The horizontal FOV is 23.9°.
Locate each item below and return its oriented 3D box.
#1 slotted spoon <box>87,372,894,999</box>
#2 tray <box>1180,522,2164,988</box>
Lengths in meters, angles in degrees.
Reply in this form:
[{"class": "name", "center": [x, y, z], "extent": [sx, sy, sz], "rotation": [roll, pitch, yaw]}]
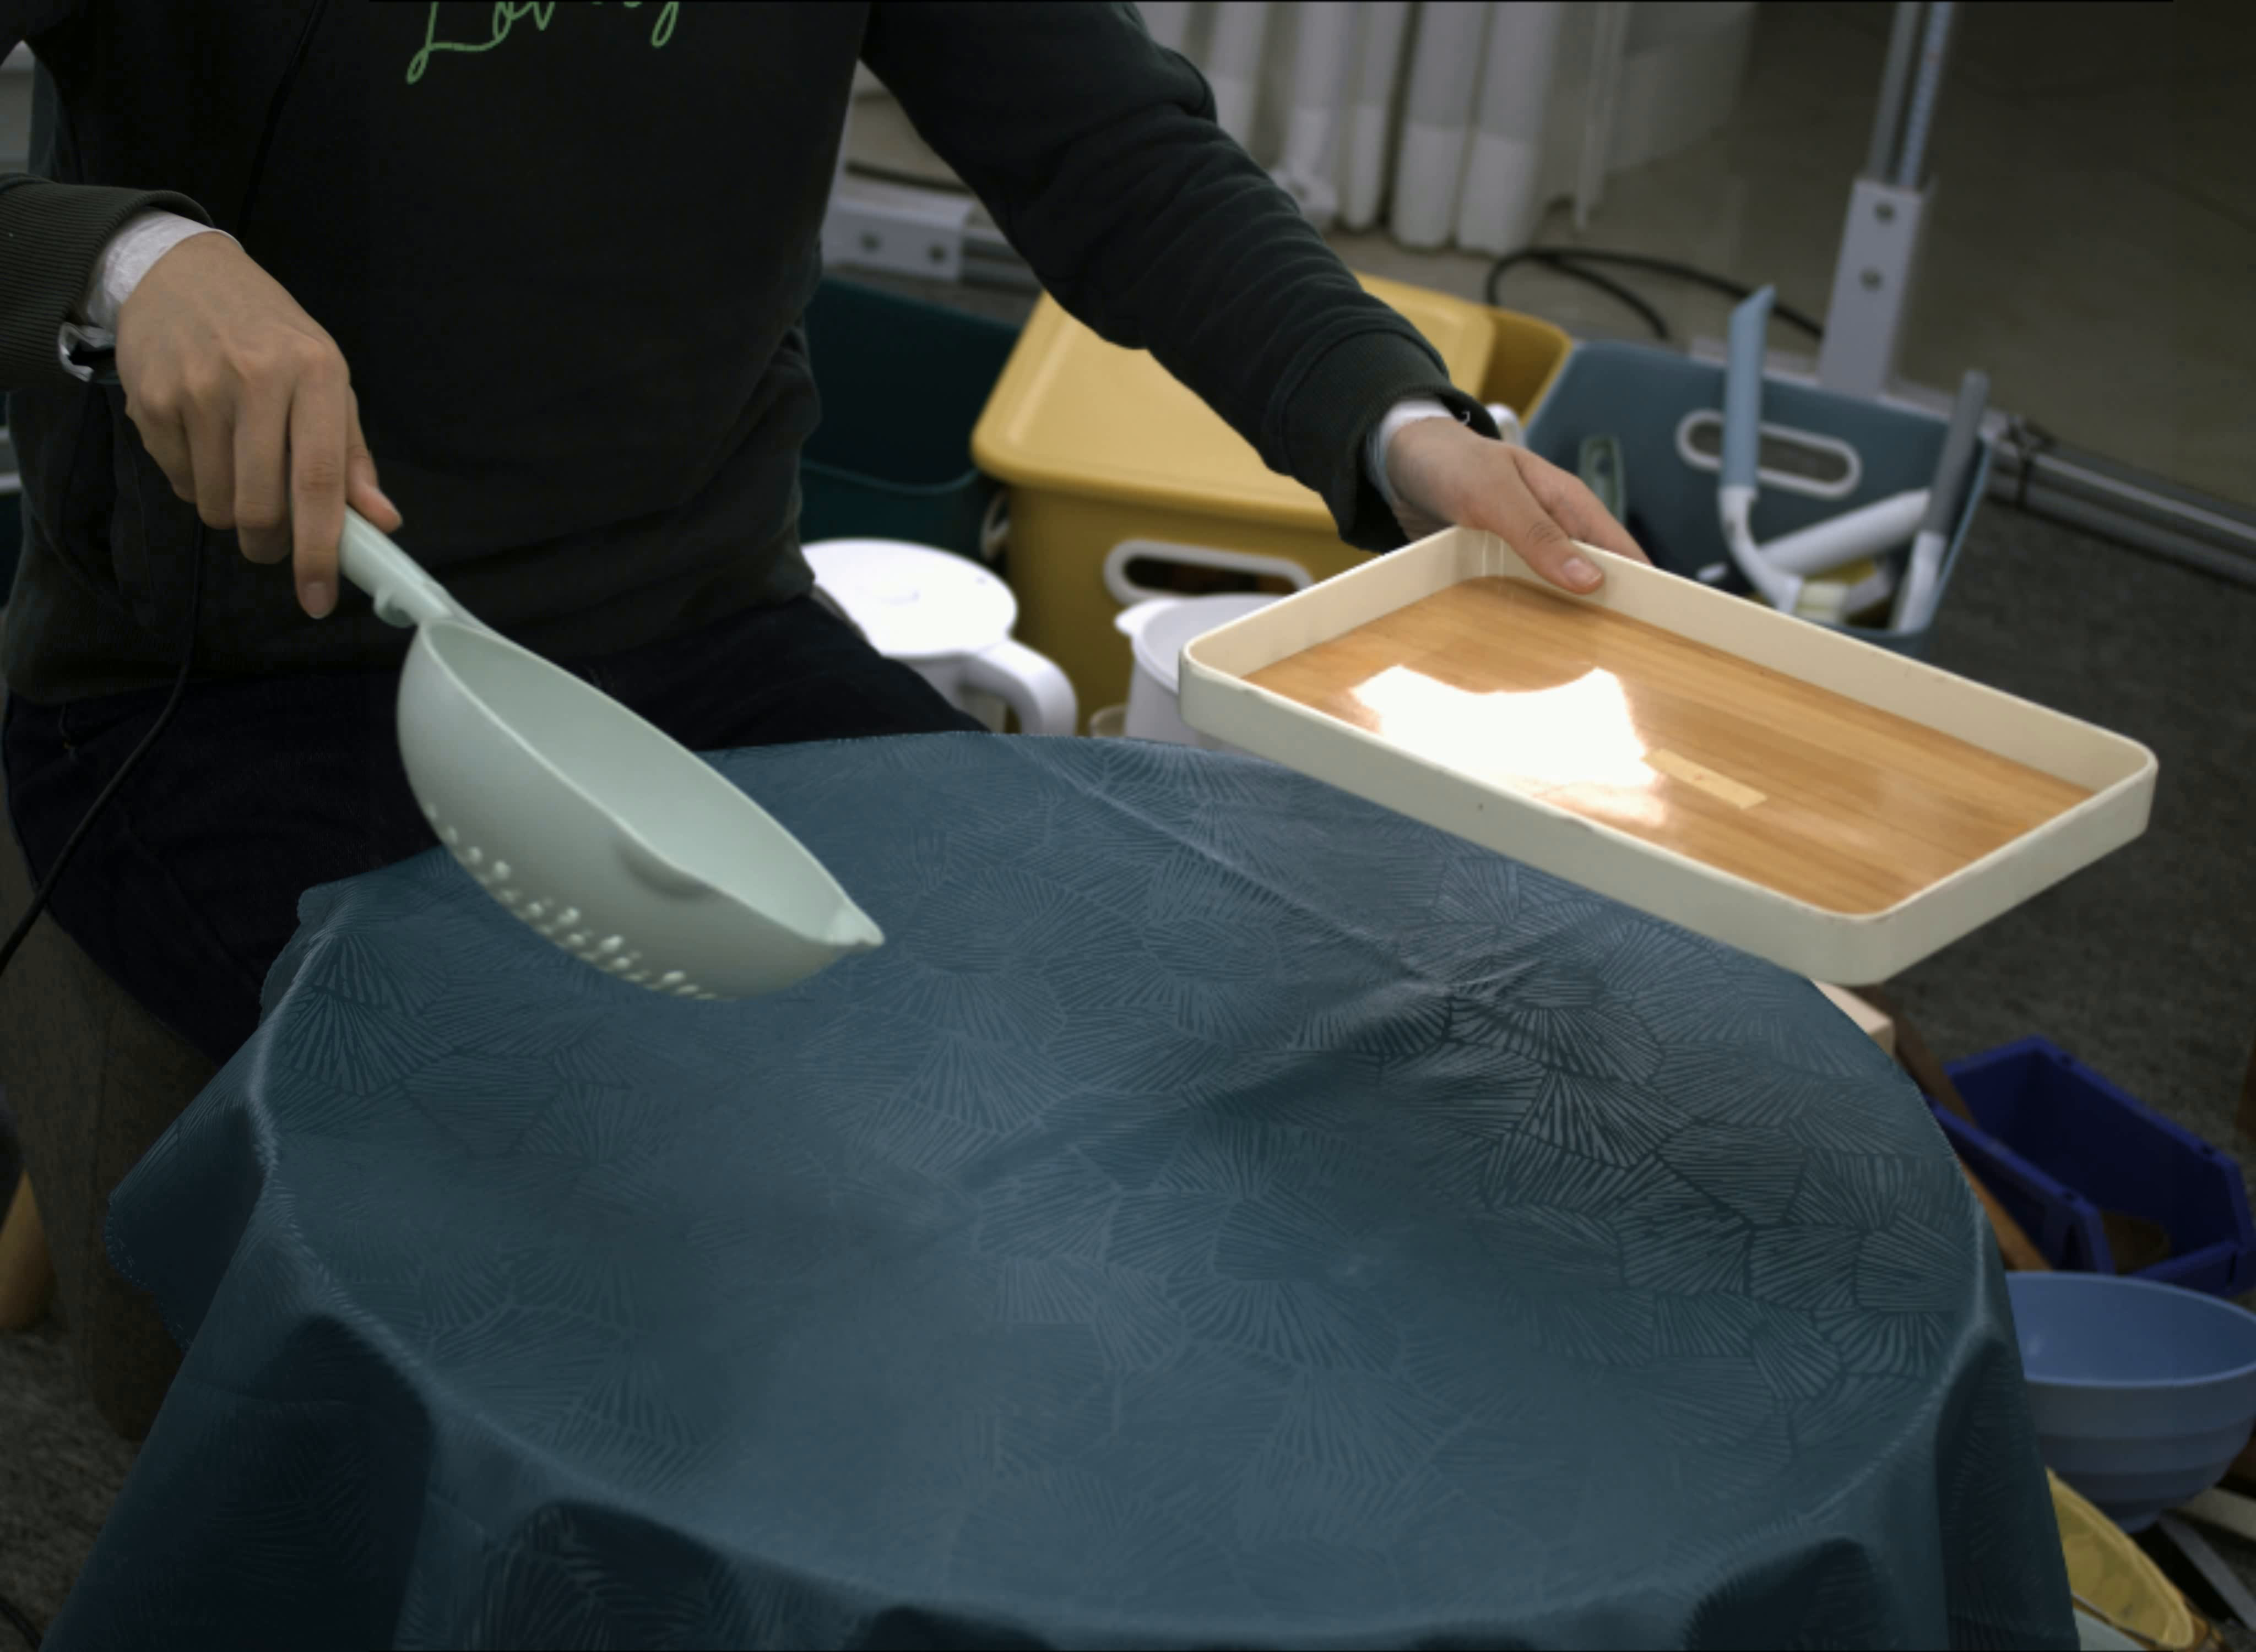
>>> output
[{"class": "slotted spoon", "center": [-0.222, -0.059, 1.717], "extent": [0.362, 0.075, 0.168], "rotation": [48, 11, 29]}, {"class": "tray", "center": [0.184, -0.029, 1.833], "extent": [0.302, 0.027, 0.191], "rotation": [23, 33, 37]}]
